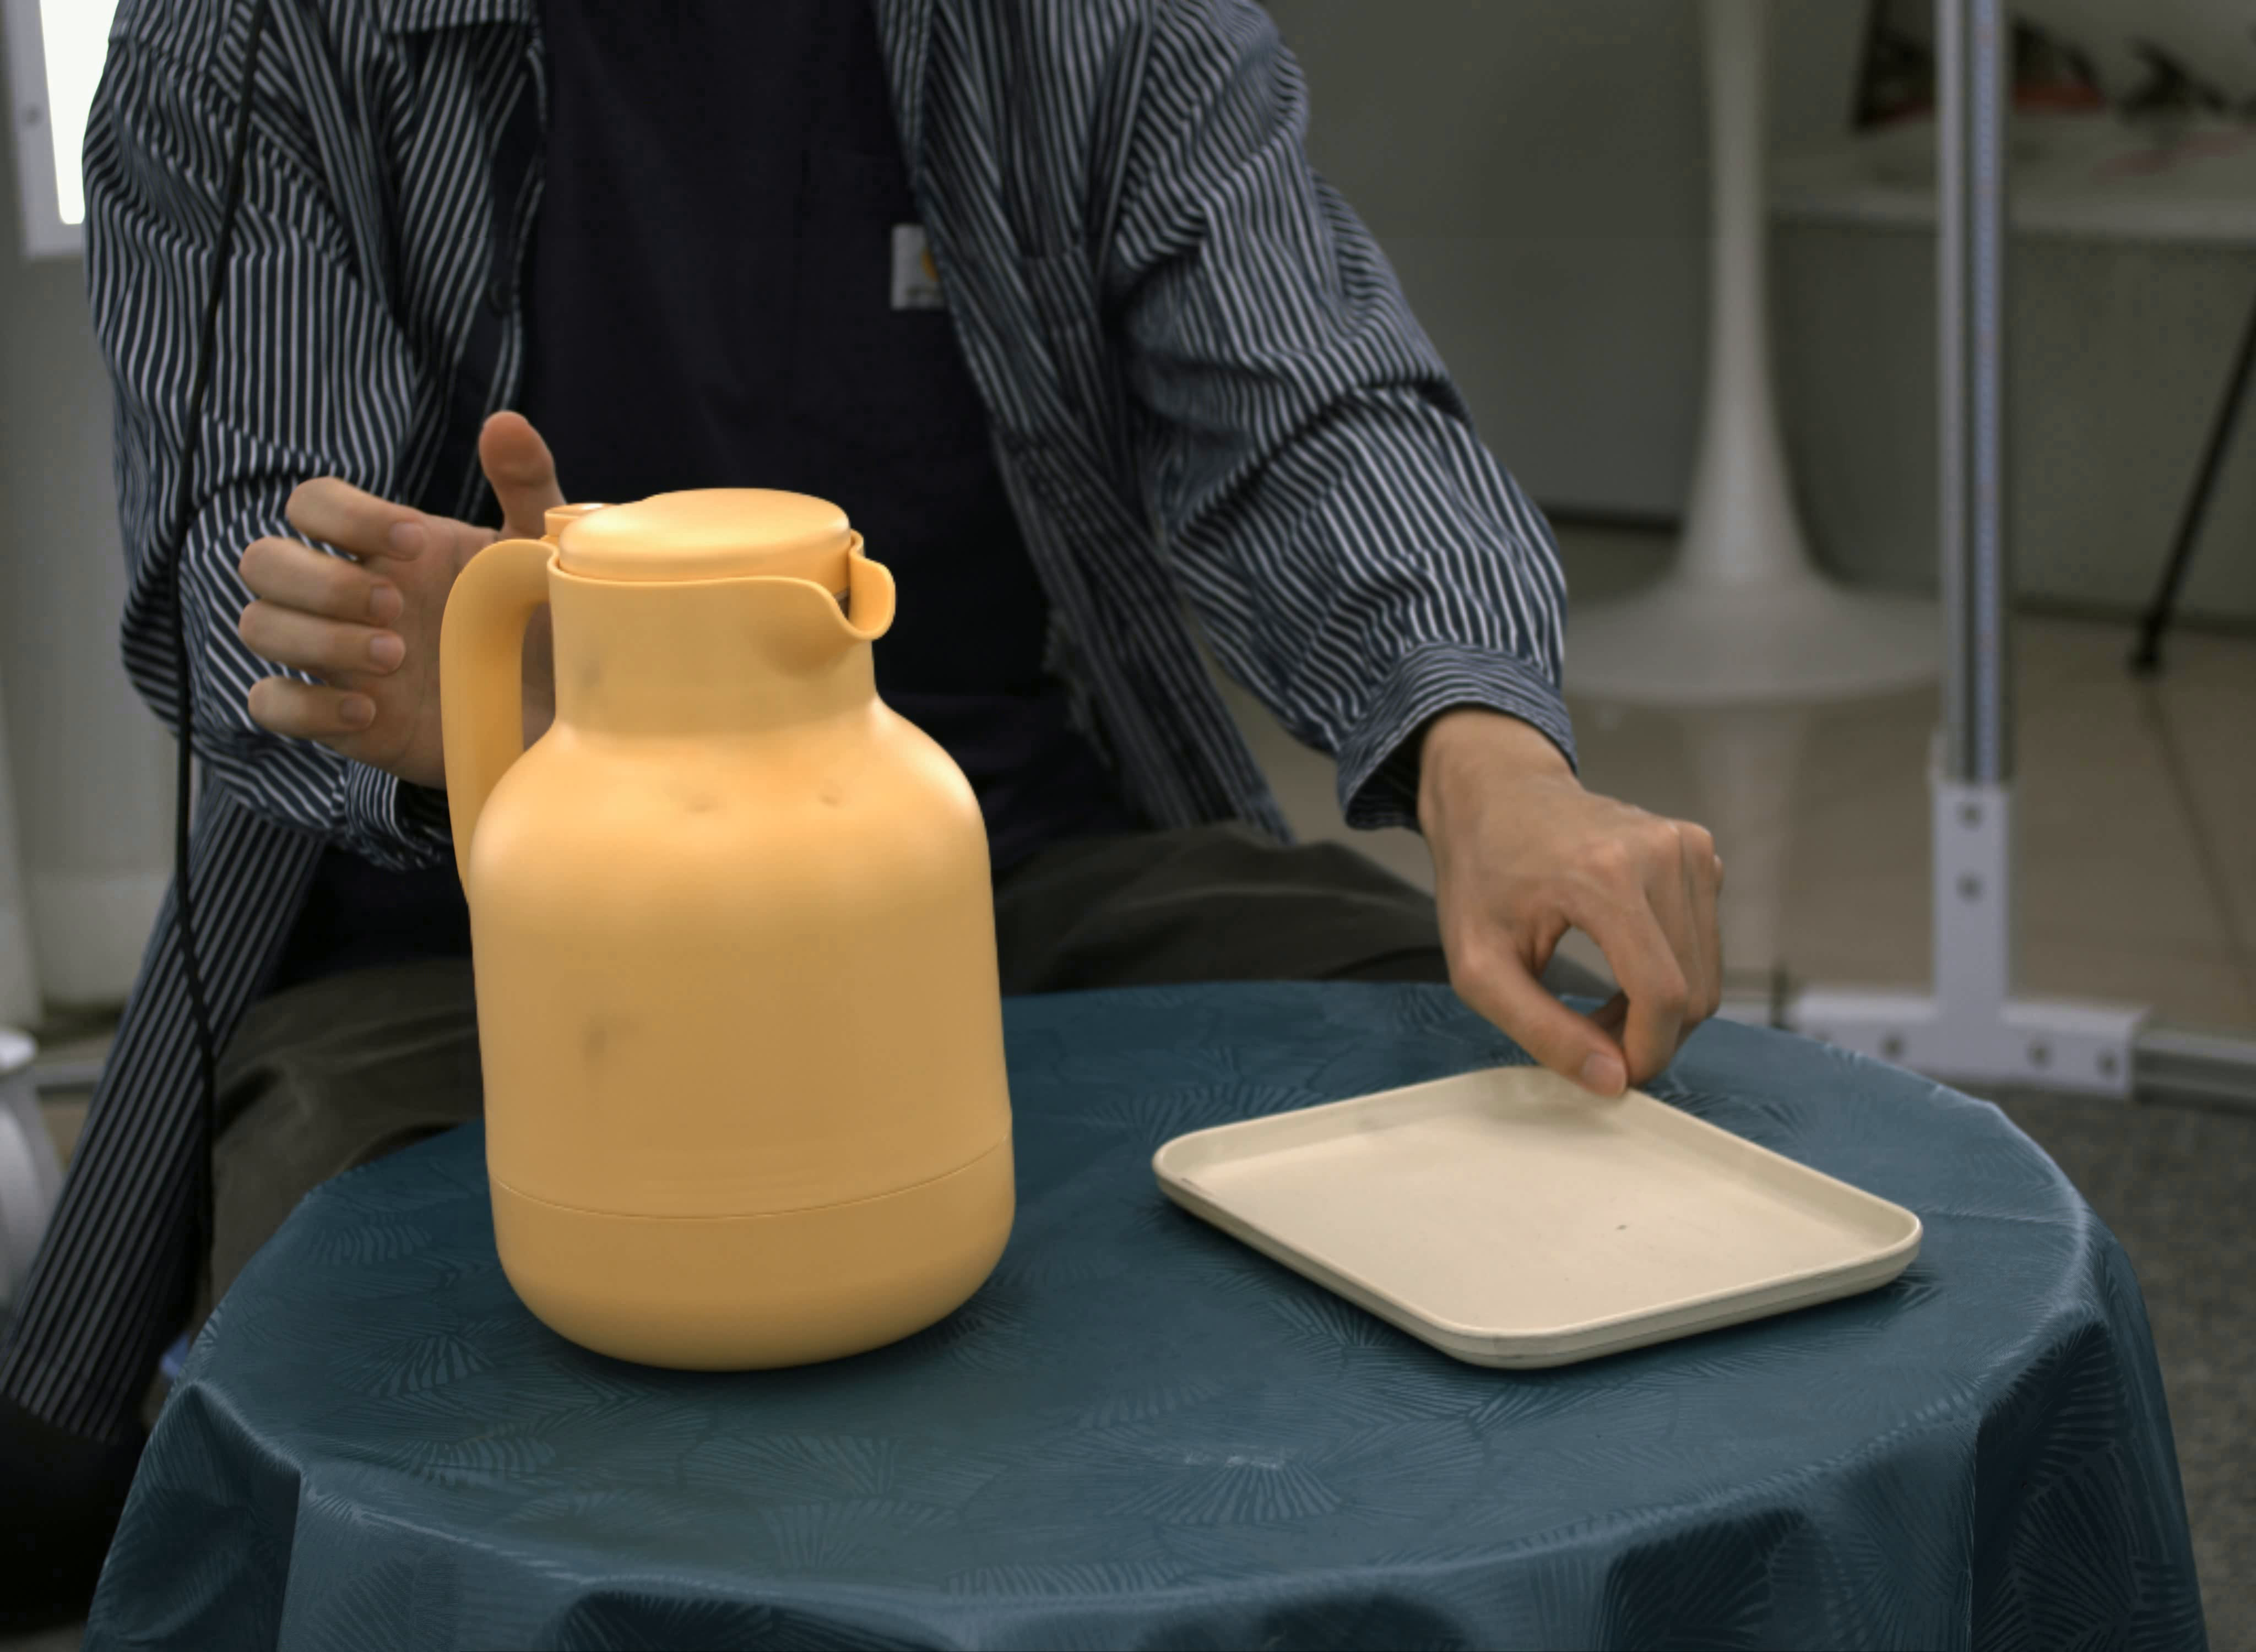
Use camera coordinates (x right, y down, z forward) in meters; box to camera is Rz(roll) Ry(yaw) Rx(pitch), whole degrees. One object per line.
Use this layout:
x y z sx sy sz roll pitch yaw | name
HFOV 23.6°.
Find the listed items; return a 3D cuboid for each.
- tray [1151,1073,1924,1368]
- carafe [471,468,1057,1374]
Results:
0.125 0.123 1.690 0.167 0.017 0.242 -10 15 -25 | tray
-0.120 0.022 1.657 0.204 0.263 0.160 9 16 42 | carafe
